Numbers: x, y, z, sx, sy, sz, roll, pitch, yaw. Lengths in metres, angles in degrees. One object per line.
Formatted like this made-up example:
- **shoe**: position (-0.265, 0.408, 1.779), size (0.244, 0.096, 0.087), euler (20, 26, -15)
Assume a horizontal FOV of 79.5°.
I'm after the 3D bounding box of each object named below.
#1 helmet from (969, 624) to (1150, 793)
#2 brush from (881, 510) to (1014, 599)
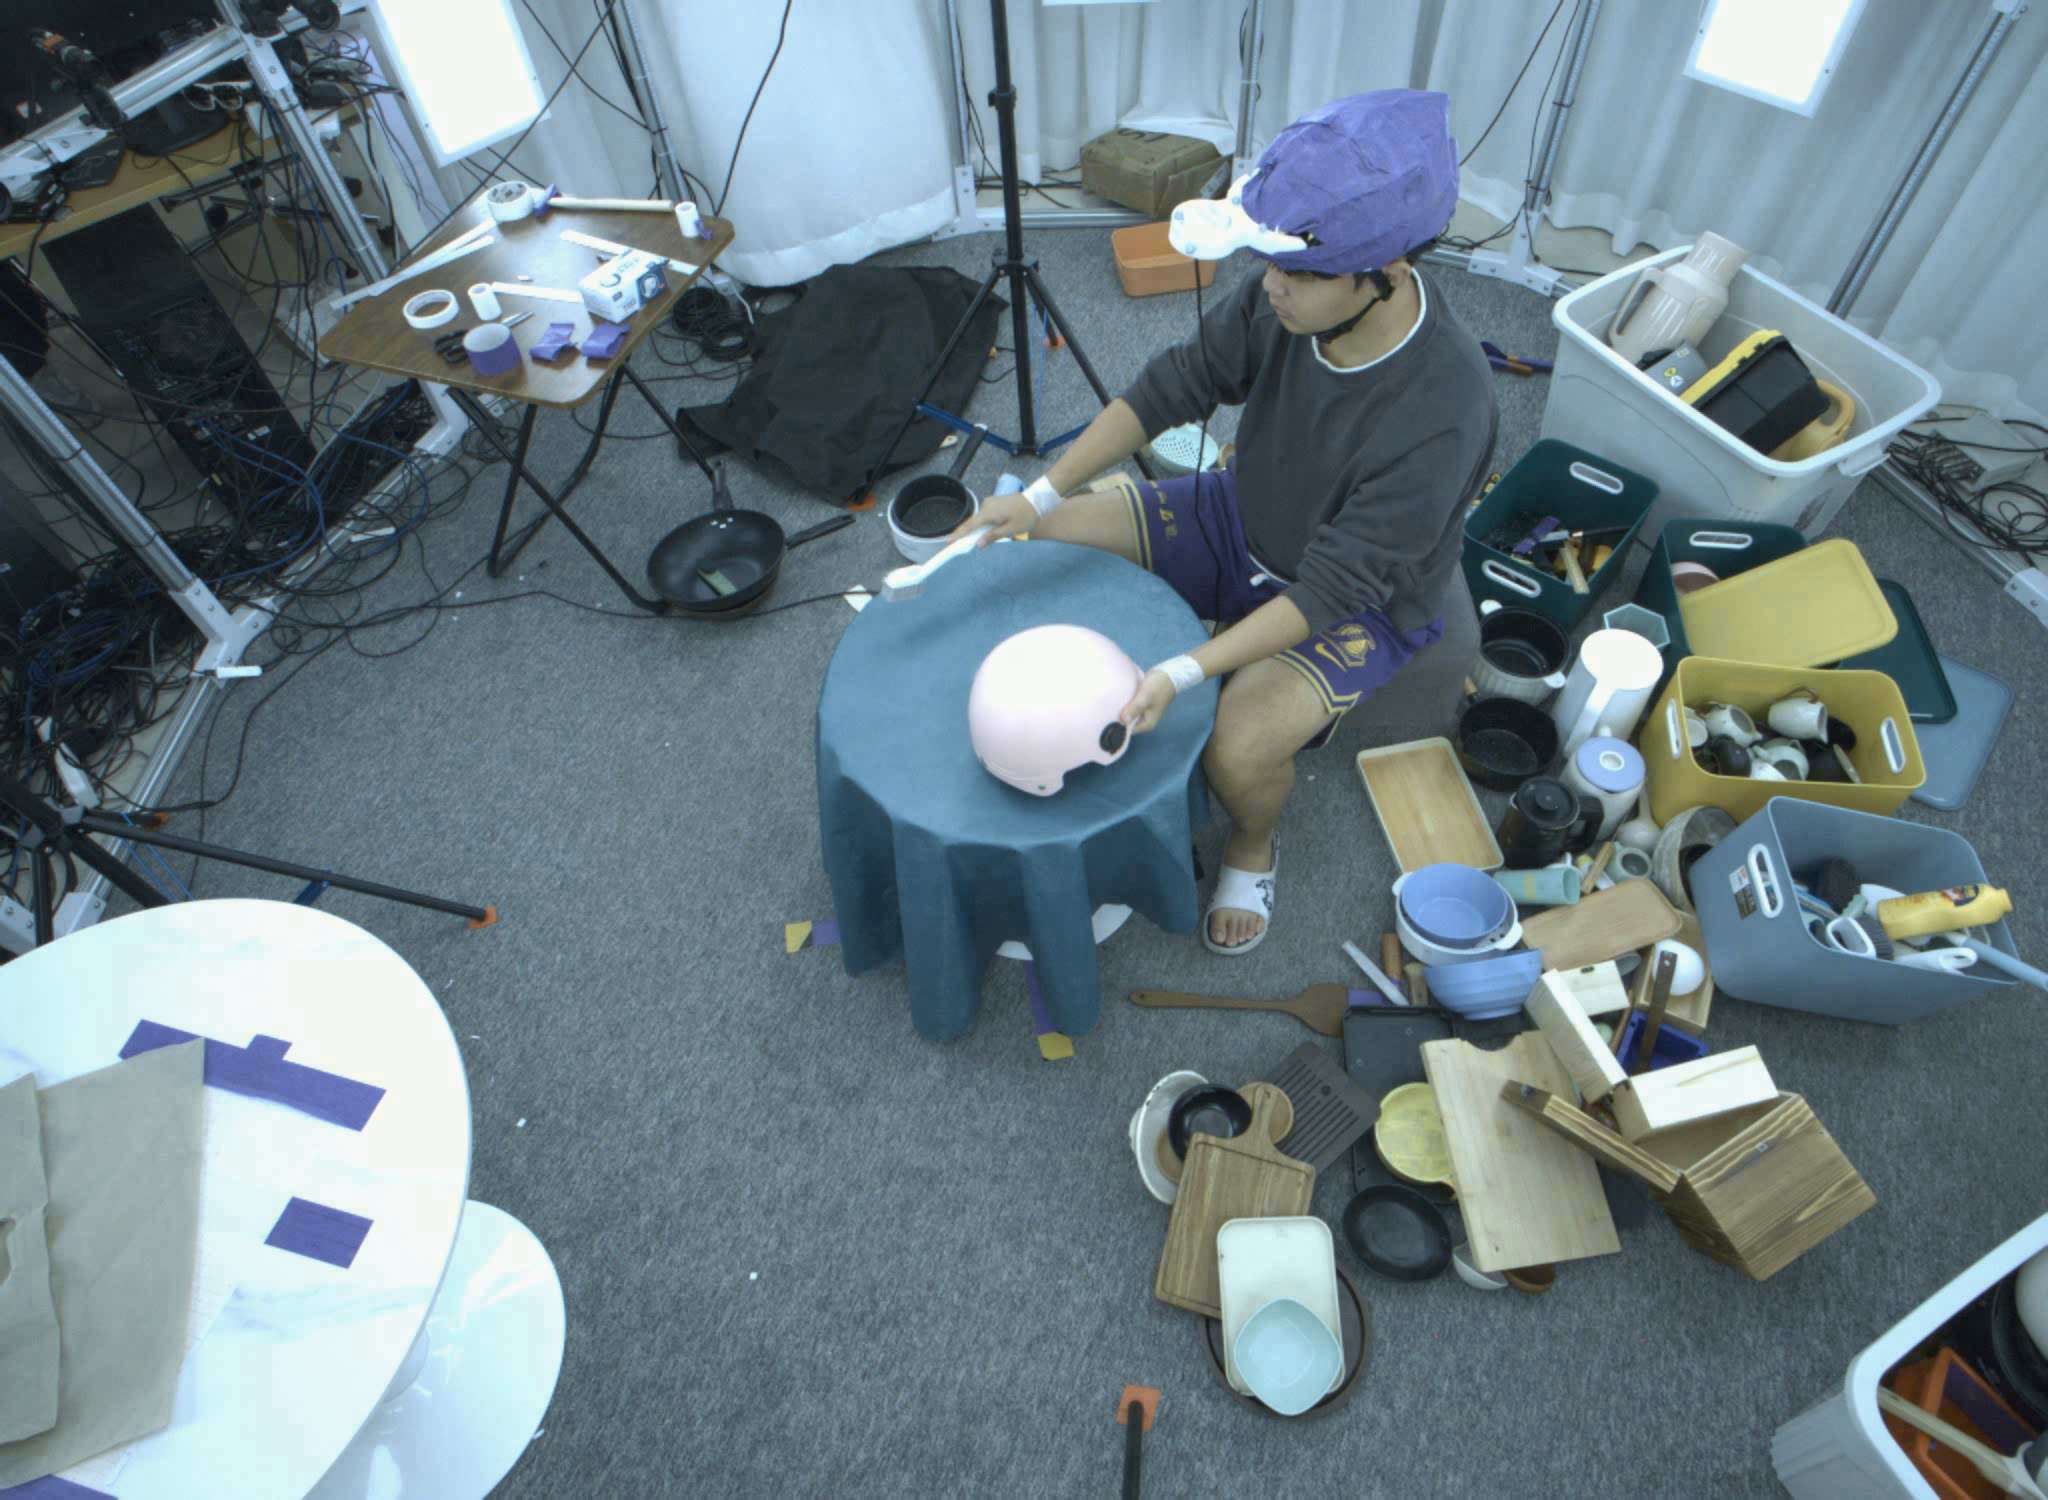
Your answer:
- **helmet**: position (0.037, -0.087, 1.716), size (0.267, 0.162, 0.229), euler (-34, 46, -10)
- **brush**: position (-0.115, -0.300, 1.891), size (0.246, 0.051, 0.033), euler (-32, 50, -20)
